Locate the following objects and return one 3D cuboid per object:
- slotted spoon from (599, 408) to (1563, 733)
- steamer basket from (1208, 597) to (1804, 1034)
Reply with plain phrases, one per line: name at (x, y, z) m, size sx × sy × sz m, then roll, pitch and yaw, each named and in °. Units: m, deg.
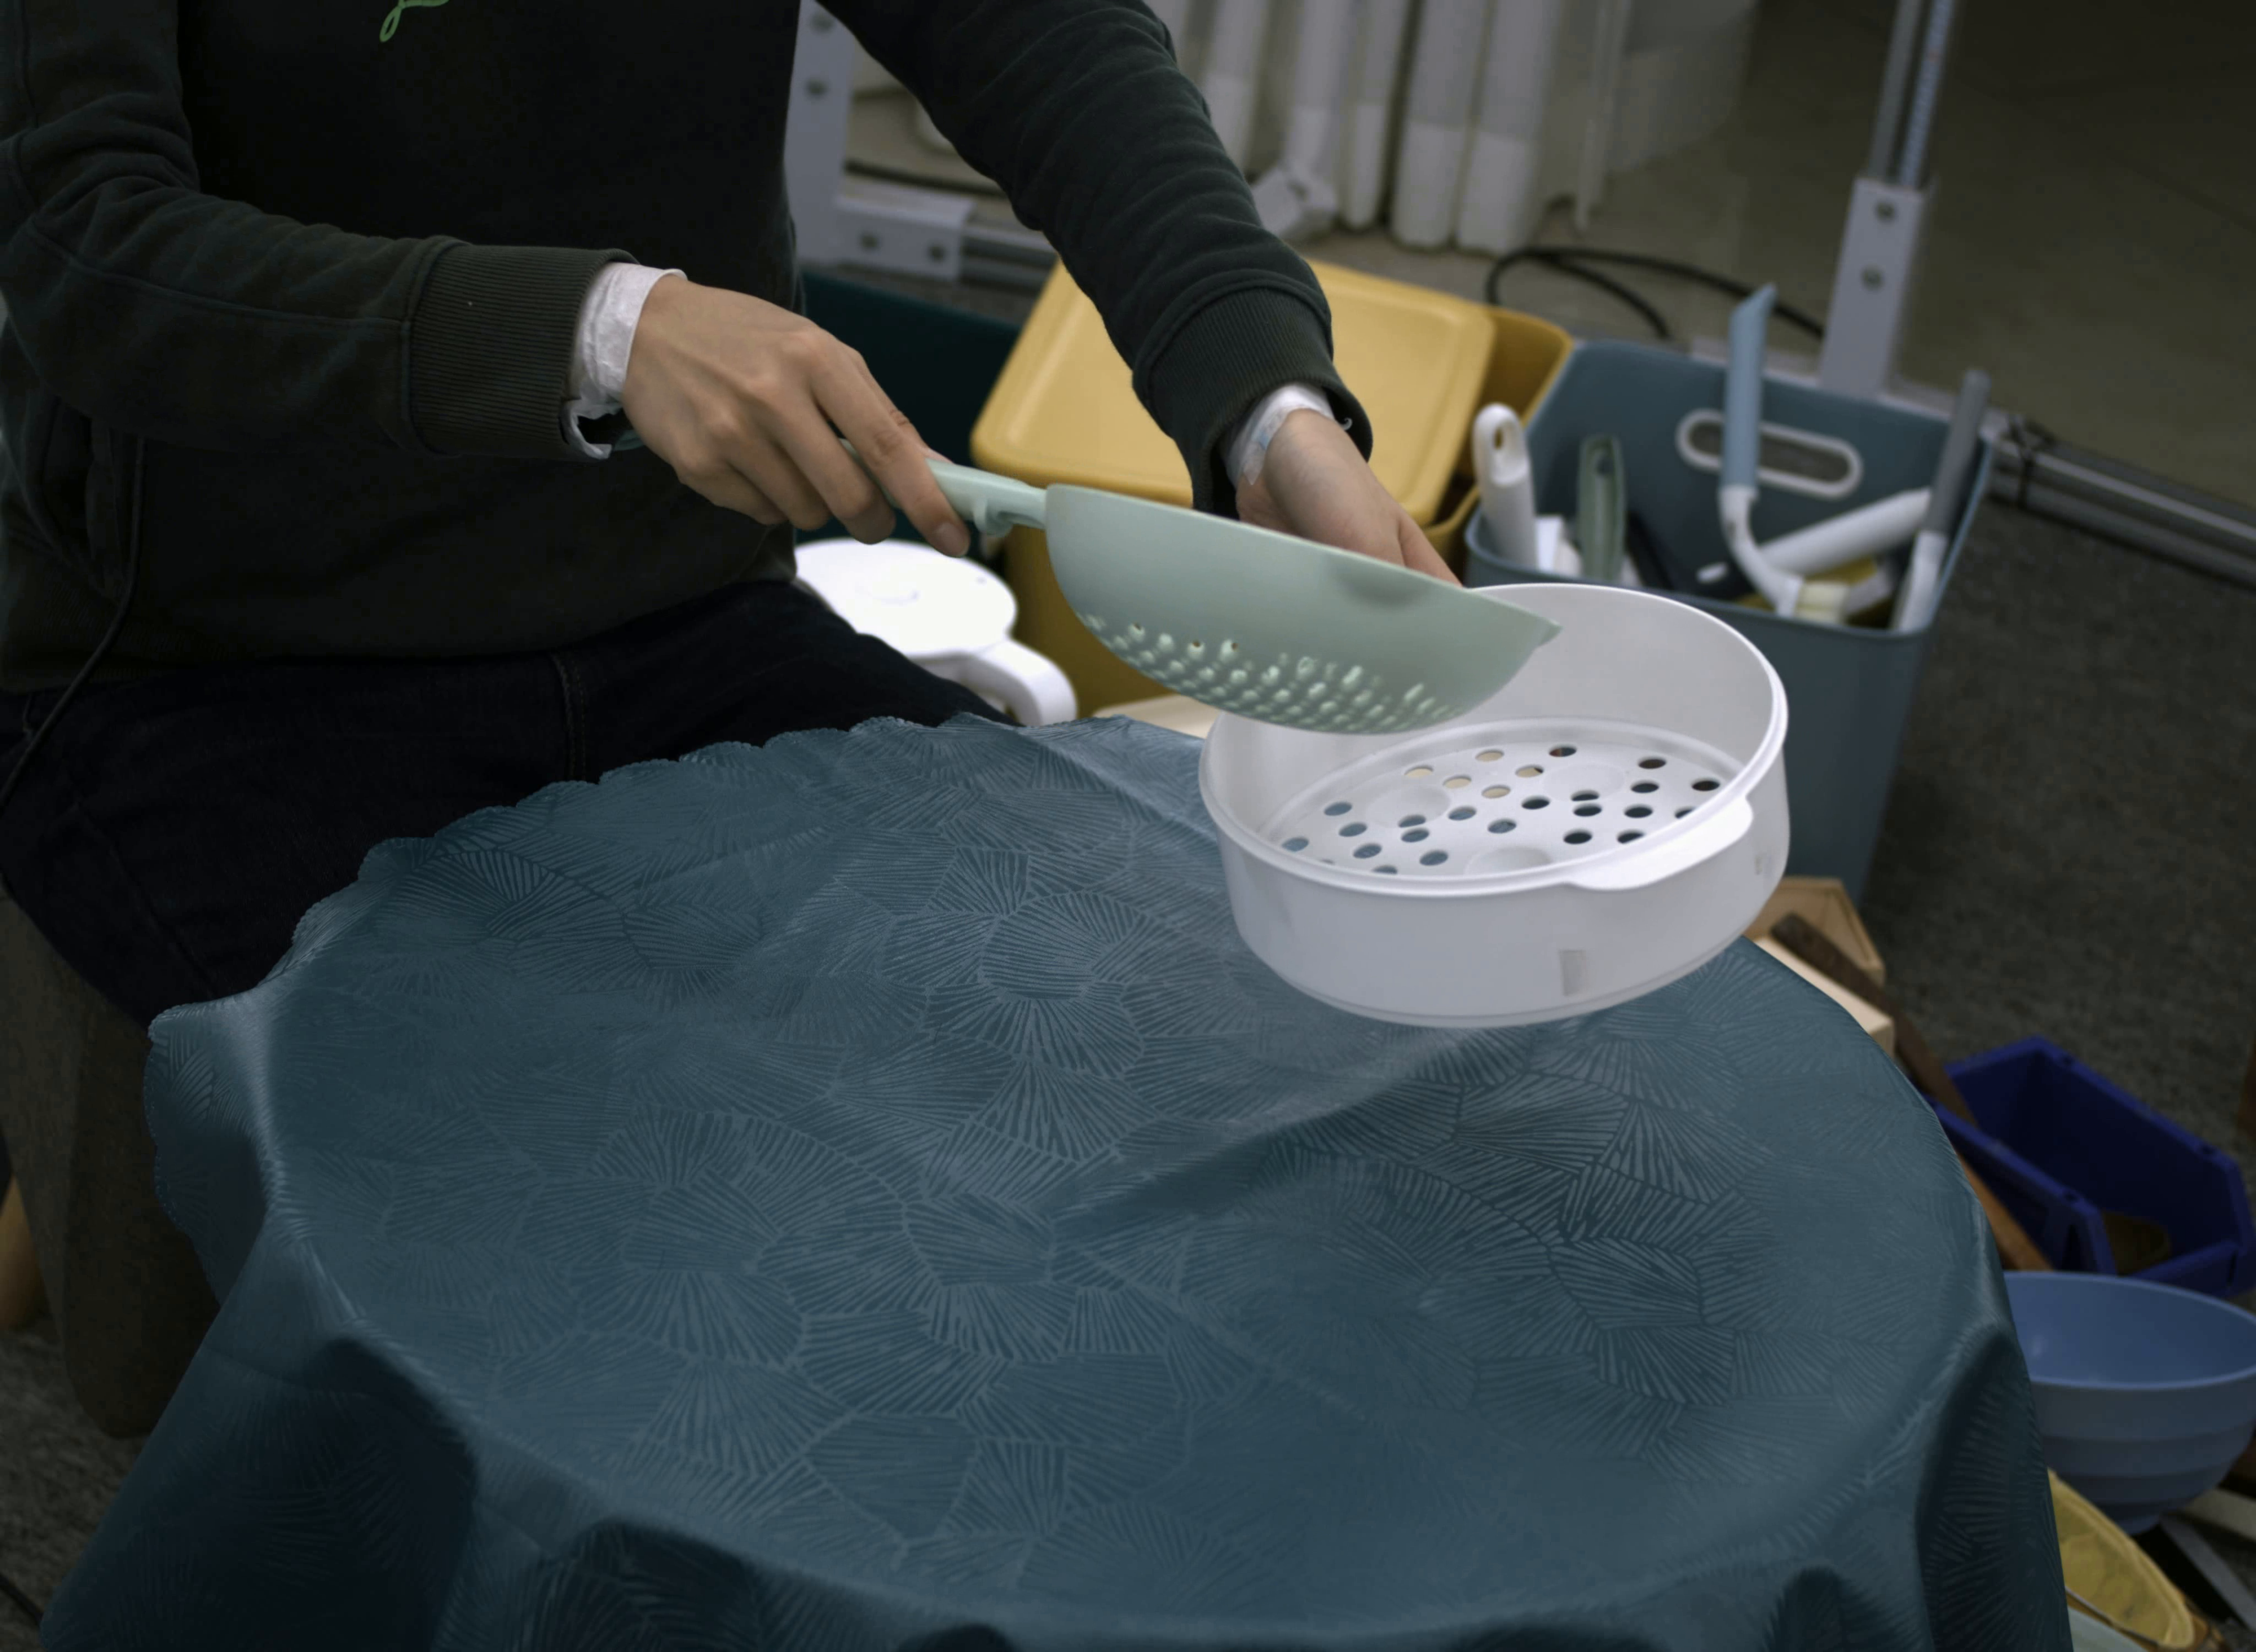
slotted spoon at (-0.030, -0.100, 1.786) m, size 0.361 × 0.075 × 0.168 m, roll 24°, pitch 4°, yaw 30°
steamer basket at (0.130, -0.003, 1.802) m, size 0.201 × 0.069 × 0.232 m, roll -24°, pitch 32°, yaw -24°
